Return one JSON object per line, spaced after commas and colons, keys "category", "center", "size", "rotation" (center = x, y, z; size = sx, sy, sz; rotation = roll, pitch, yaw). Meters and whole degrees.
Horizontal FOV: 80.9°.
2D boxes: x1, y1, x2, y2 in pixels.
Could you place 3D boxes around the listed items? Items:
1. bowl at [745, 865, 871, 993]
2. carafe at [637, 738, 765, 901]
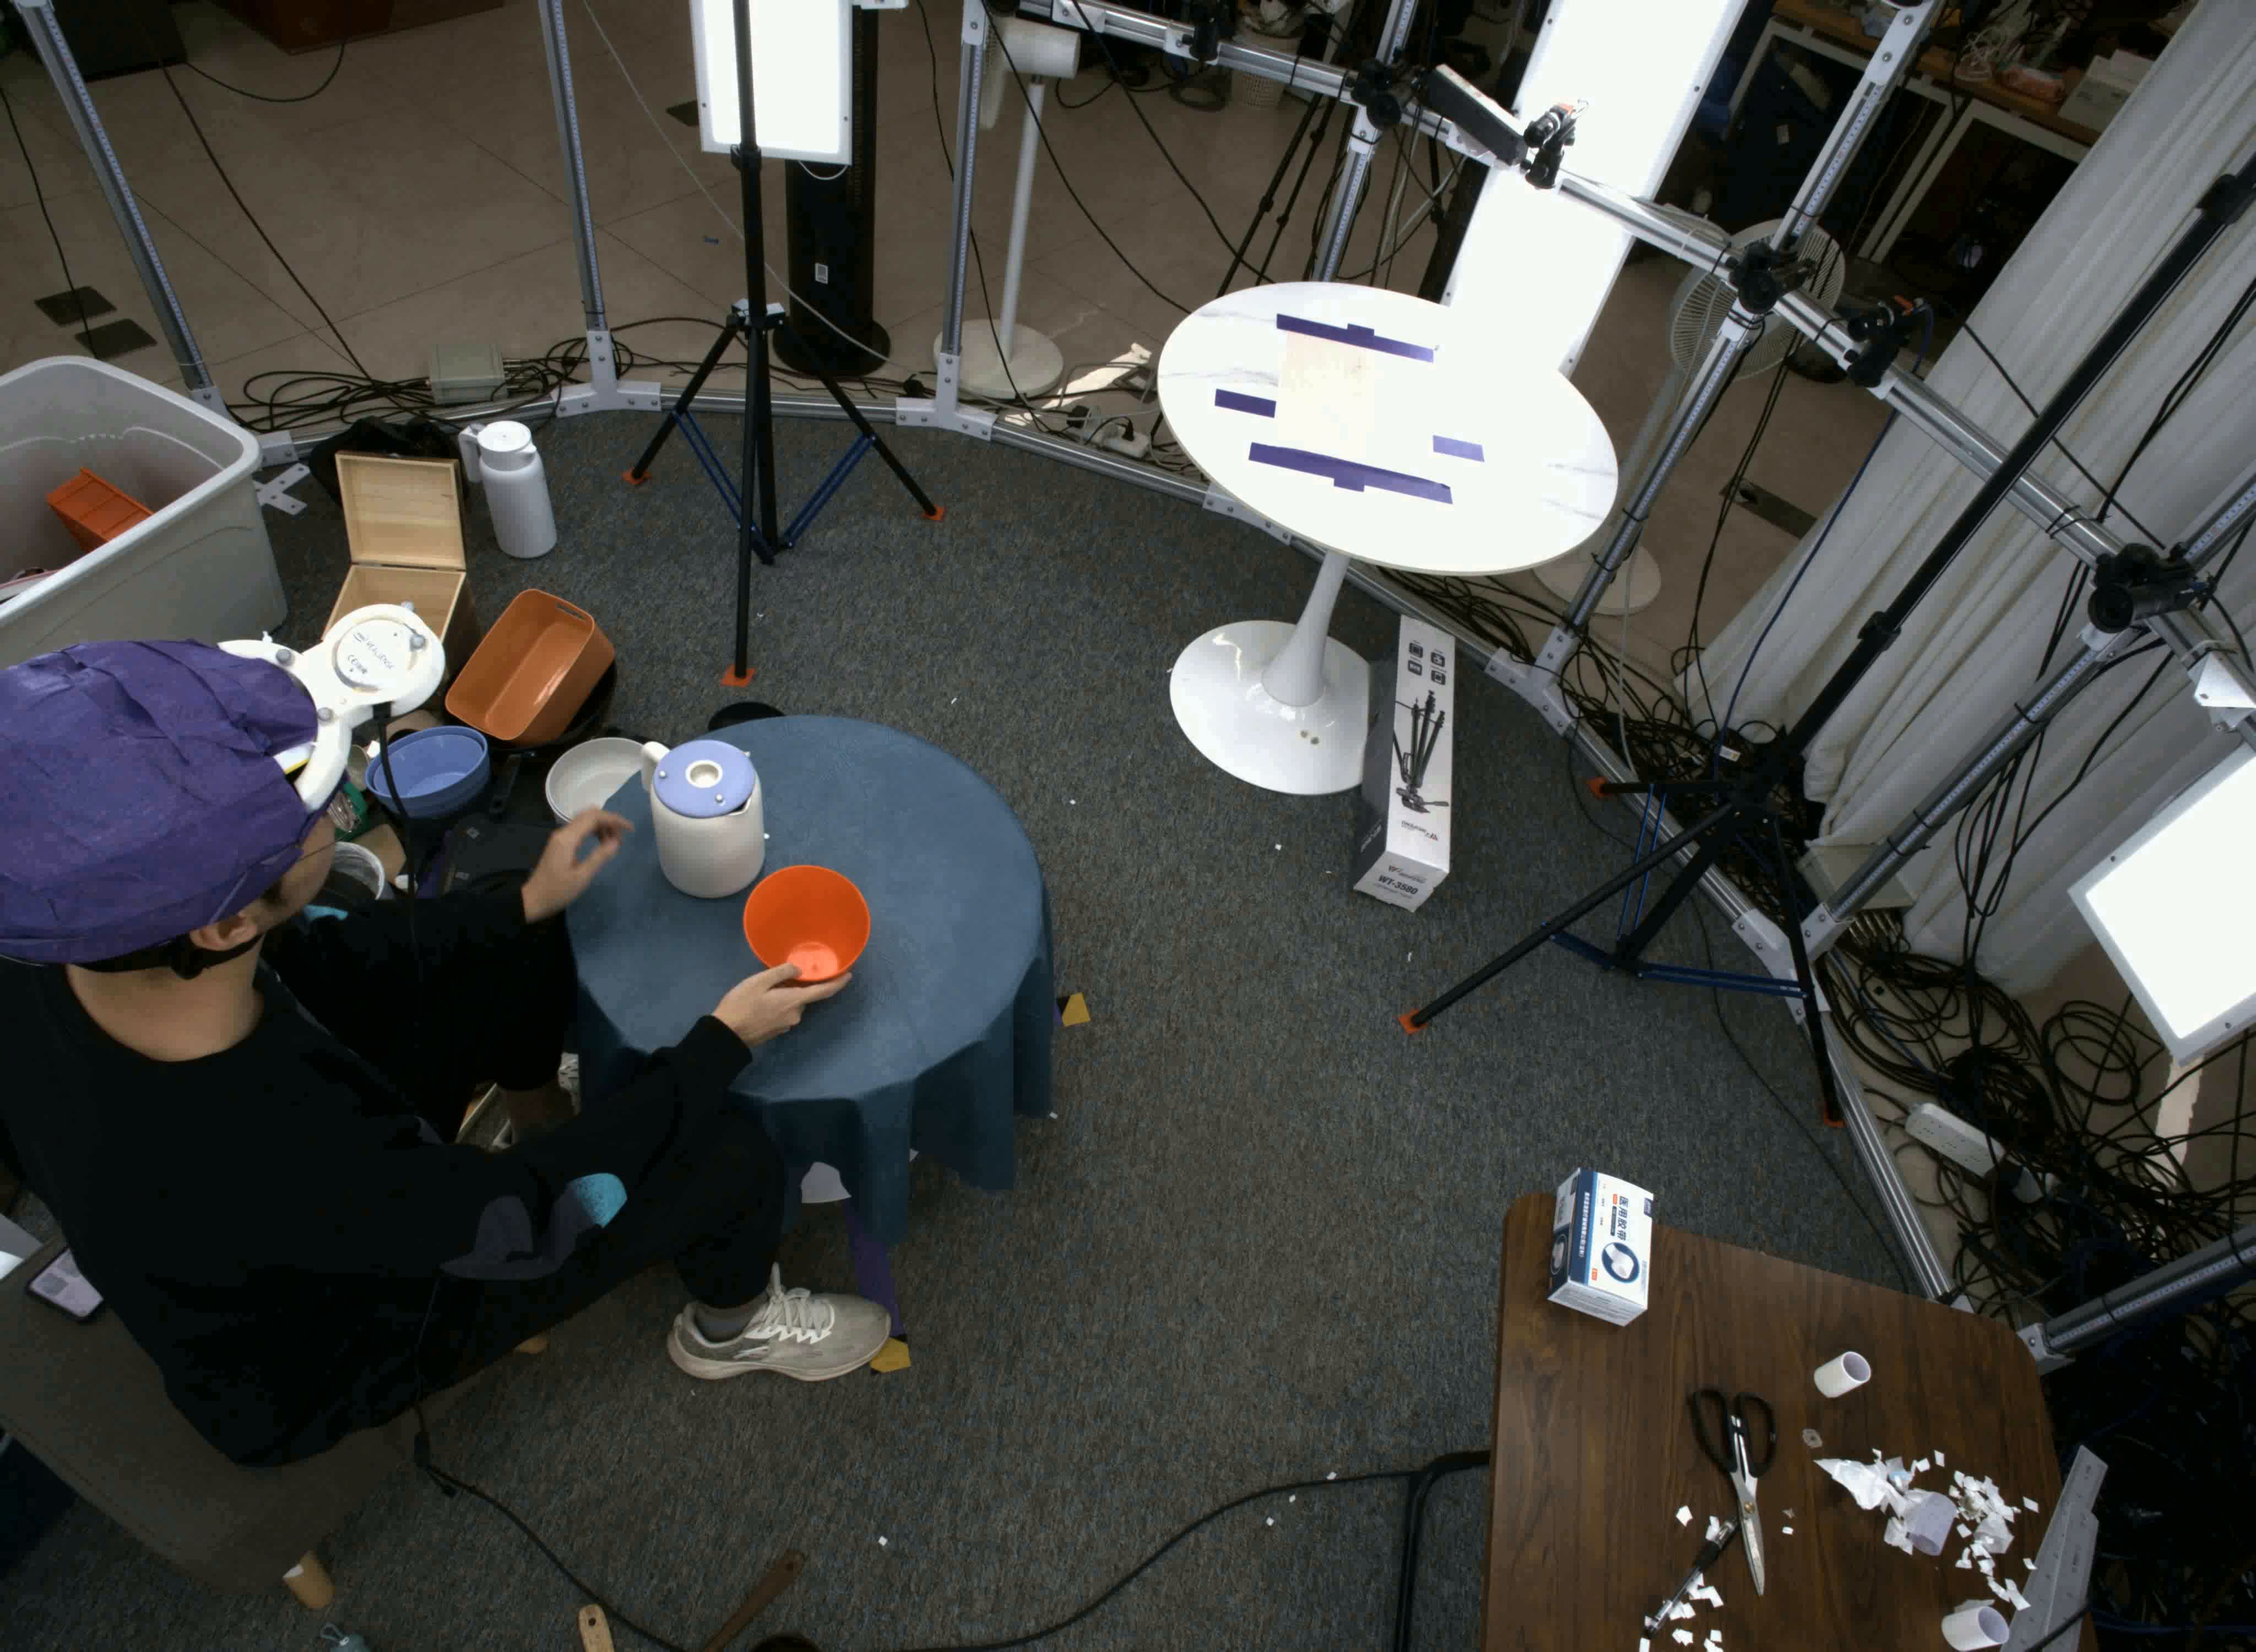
{"category": "bowl", "center": [-0.386, 0.136, 1.575], "size": [0.148, 0.107, 0.145], "rotation": [8, 53, -8]}
{"category": "carafe", "center": [-0.541, -0.022, 1.605], "size": [0.187, 0.187, 0.132], "rotation": [32, 52, 14]}
